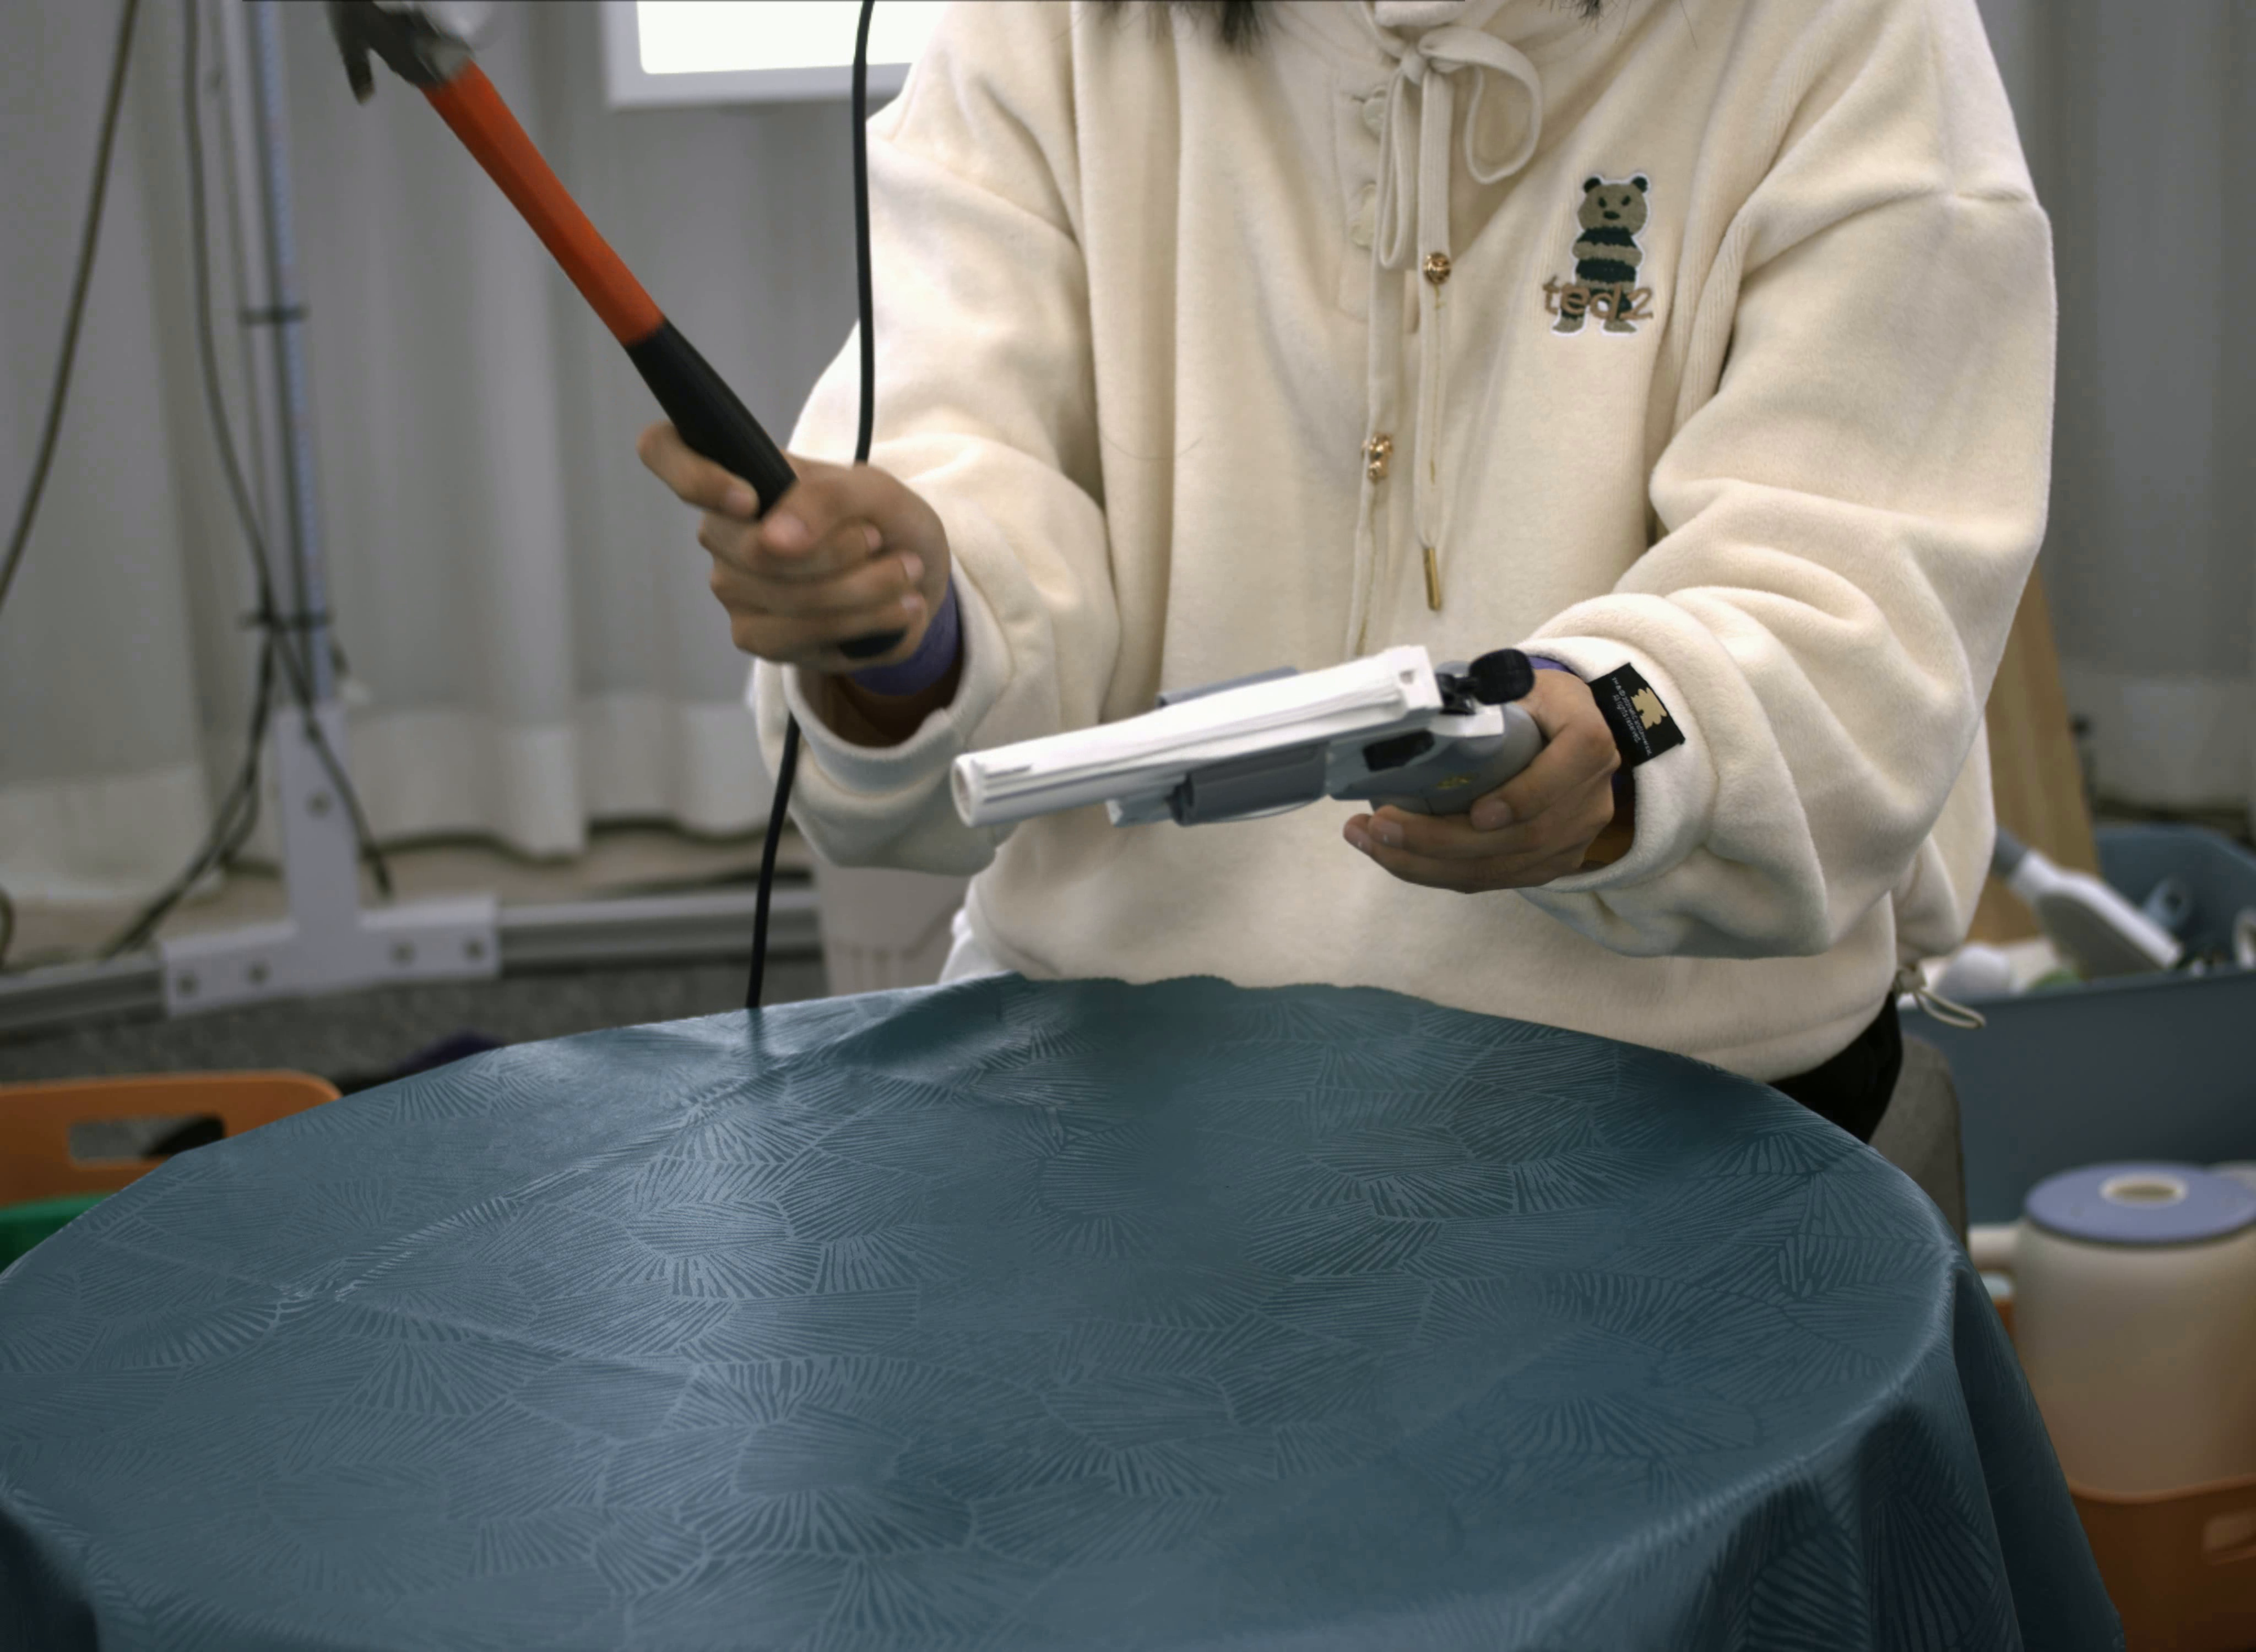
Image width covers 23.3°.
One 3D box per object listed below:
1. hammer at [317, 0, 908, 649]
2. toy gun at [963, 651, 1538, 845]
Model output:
[{"bbox_3d":[-0.157,-0.166,1.717,0.026,0.275,0.111,-48,24,-28],"label":"hammer"},{"bbox_3d":[0.040,-0.017,1.564,0.208,0.039,0.141,-11,-12,-19],"label":"toy gun"}]
